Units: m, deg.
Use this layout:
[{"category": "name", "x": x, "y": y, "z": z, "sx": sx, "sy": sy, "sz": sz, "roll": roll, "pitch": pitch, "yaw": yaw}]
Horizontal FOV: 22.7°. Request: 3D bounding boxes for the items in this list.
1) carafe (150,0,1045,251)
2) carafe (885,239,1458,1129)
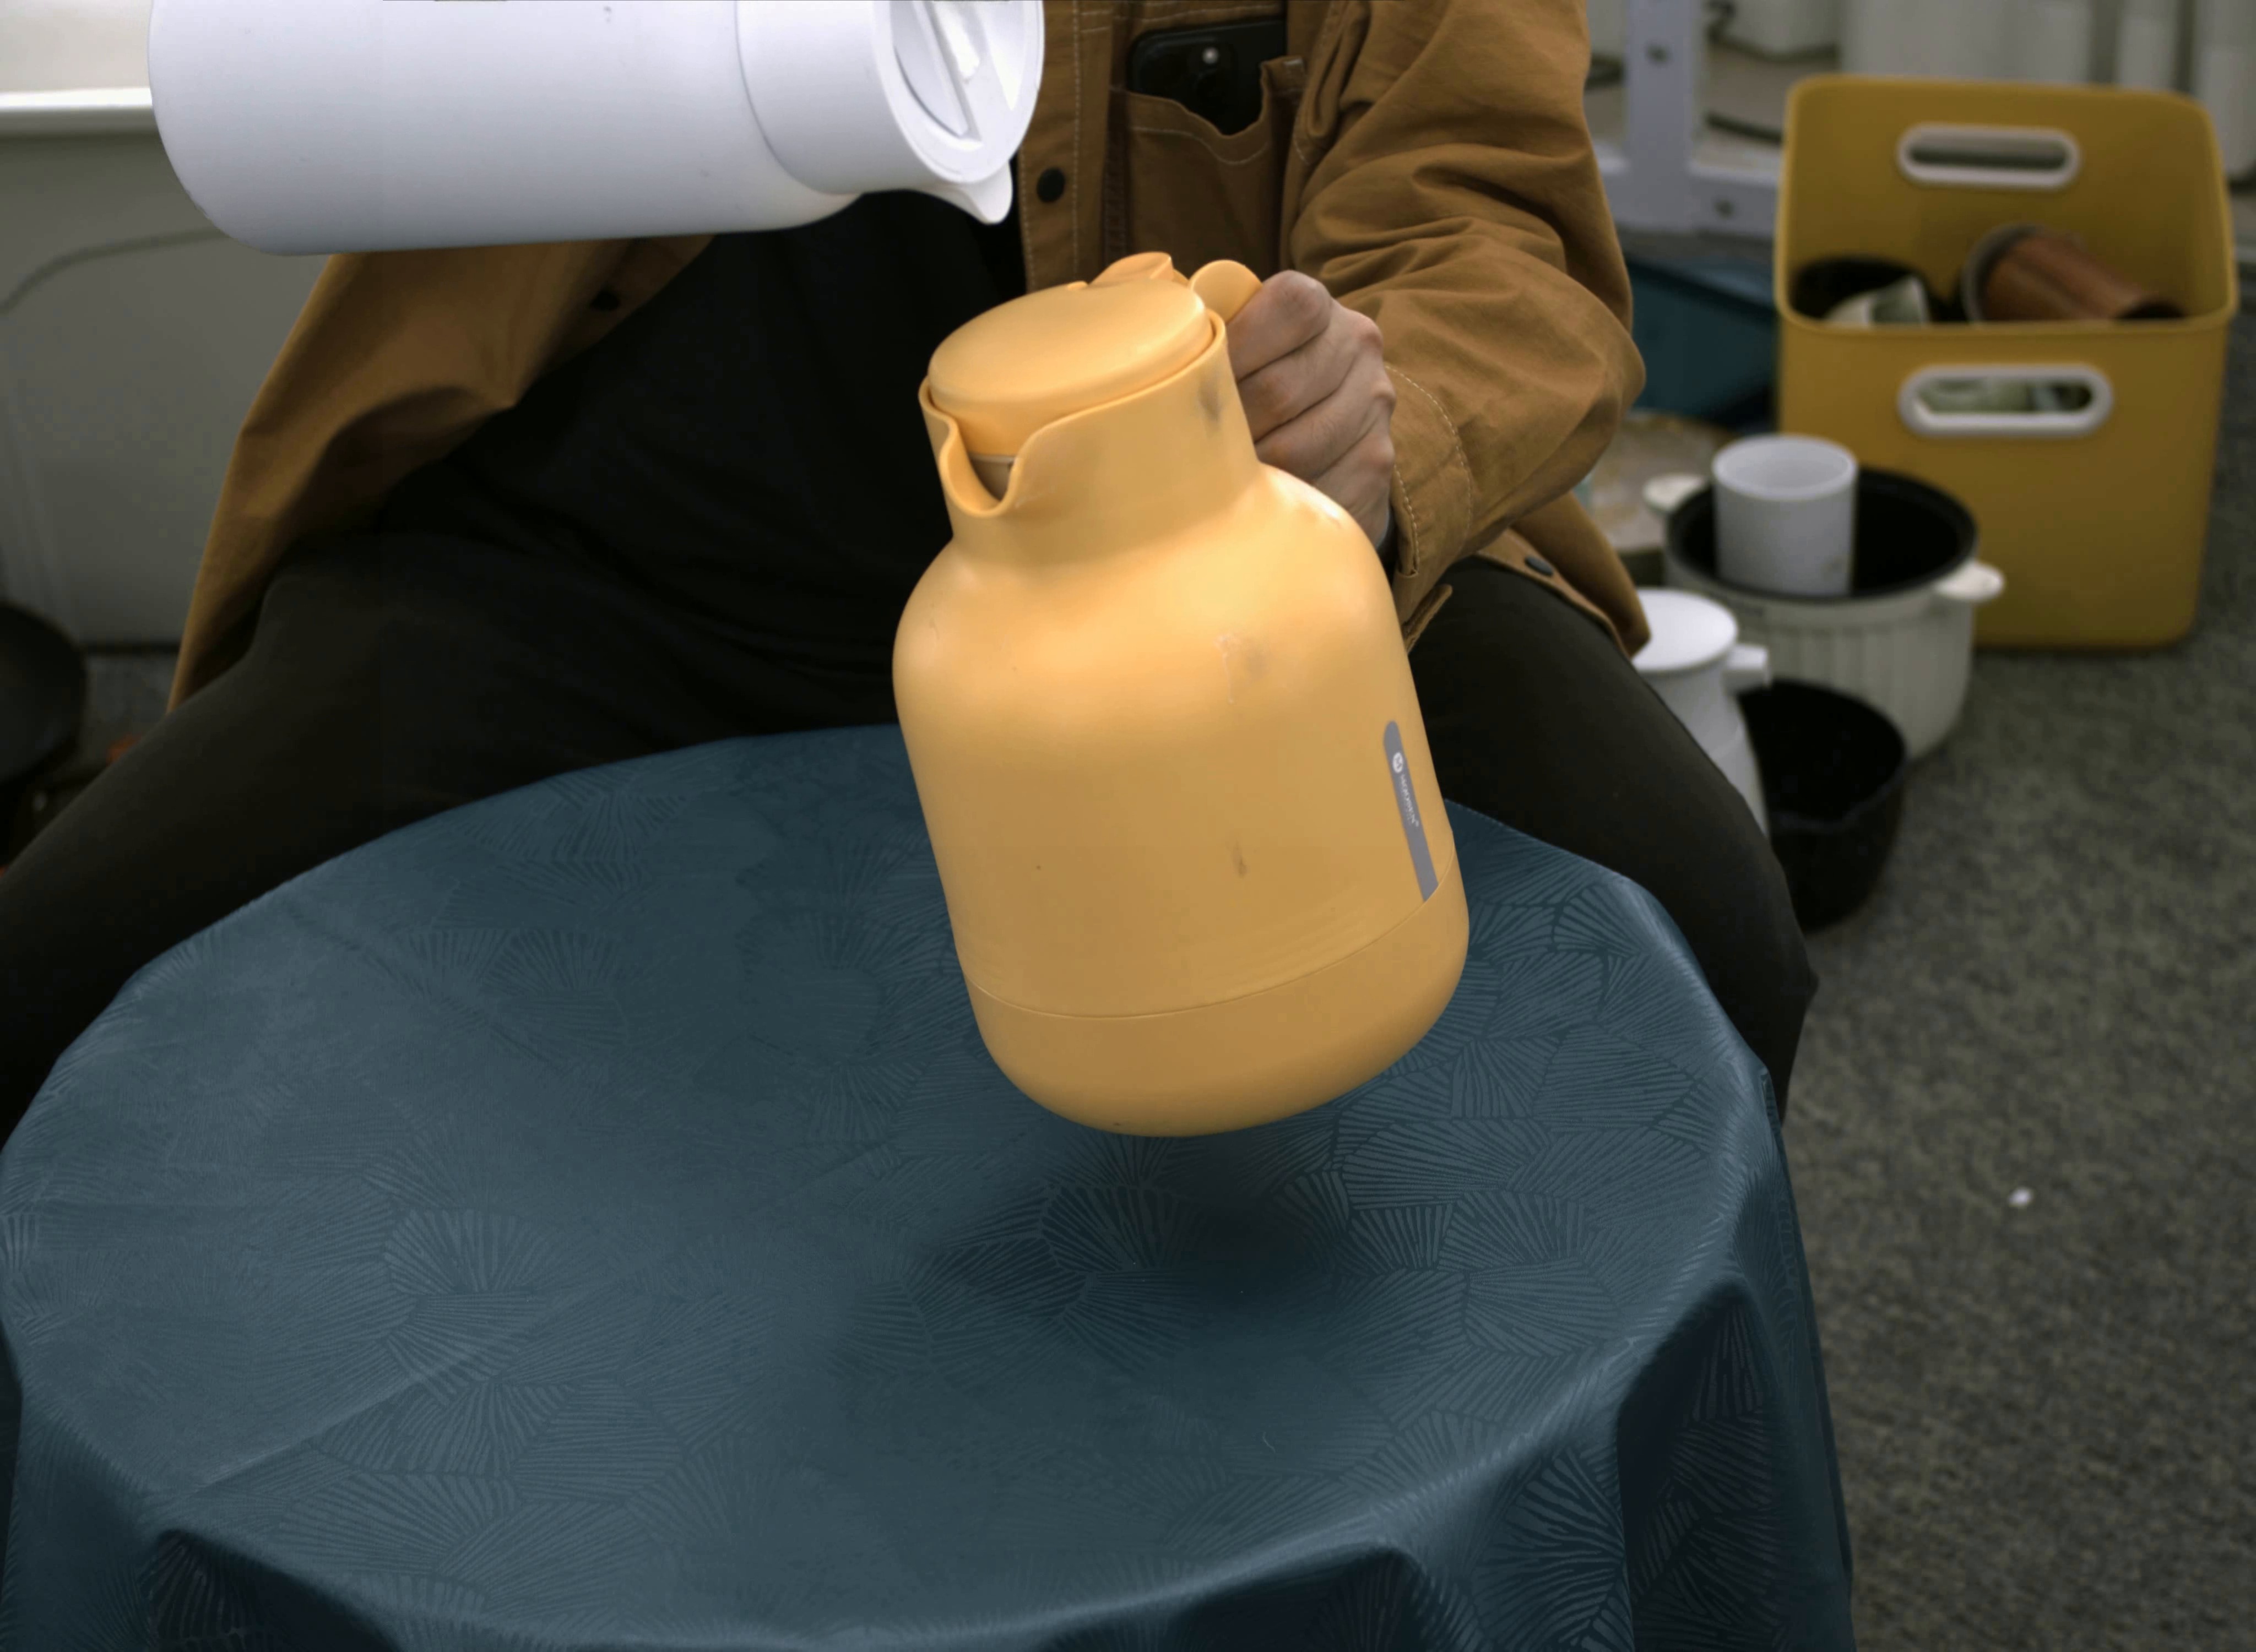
[{"category": "carafe", "x": -0.168, "y": -0.254, "z": 1.720, "sx": 0.266, "sy": 0.171, "sz": 0.126, "roll": 0, "pitch": 38, "yaw": 31}, {"category": "carafe", "x": 0.016, "y": -0.054, "z": 1.785, "sx": 0.162, "sy": 0.258, "sz": 0.206, "roll": 2, "pitch": 29, "yaw": 28}]
